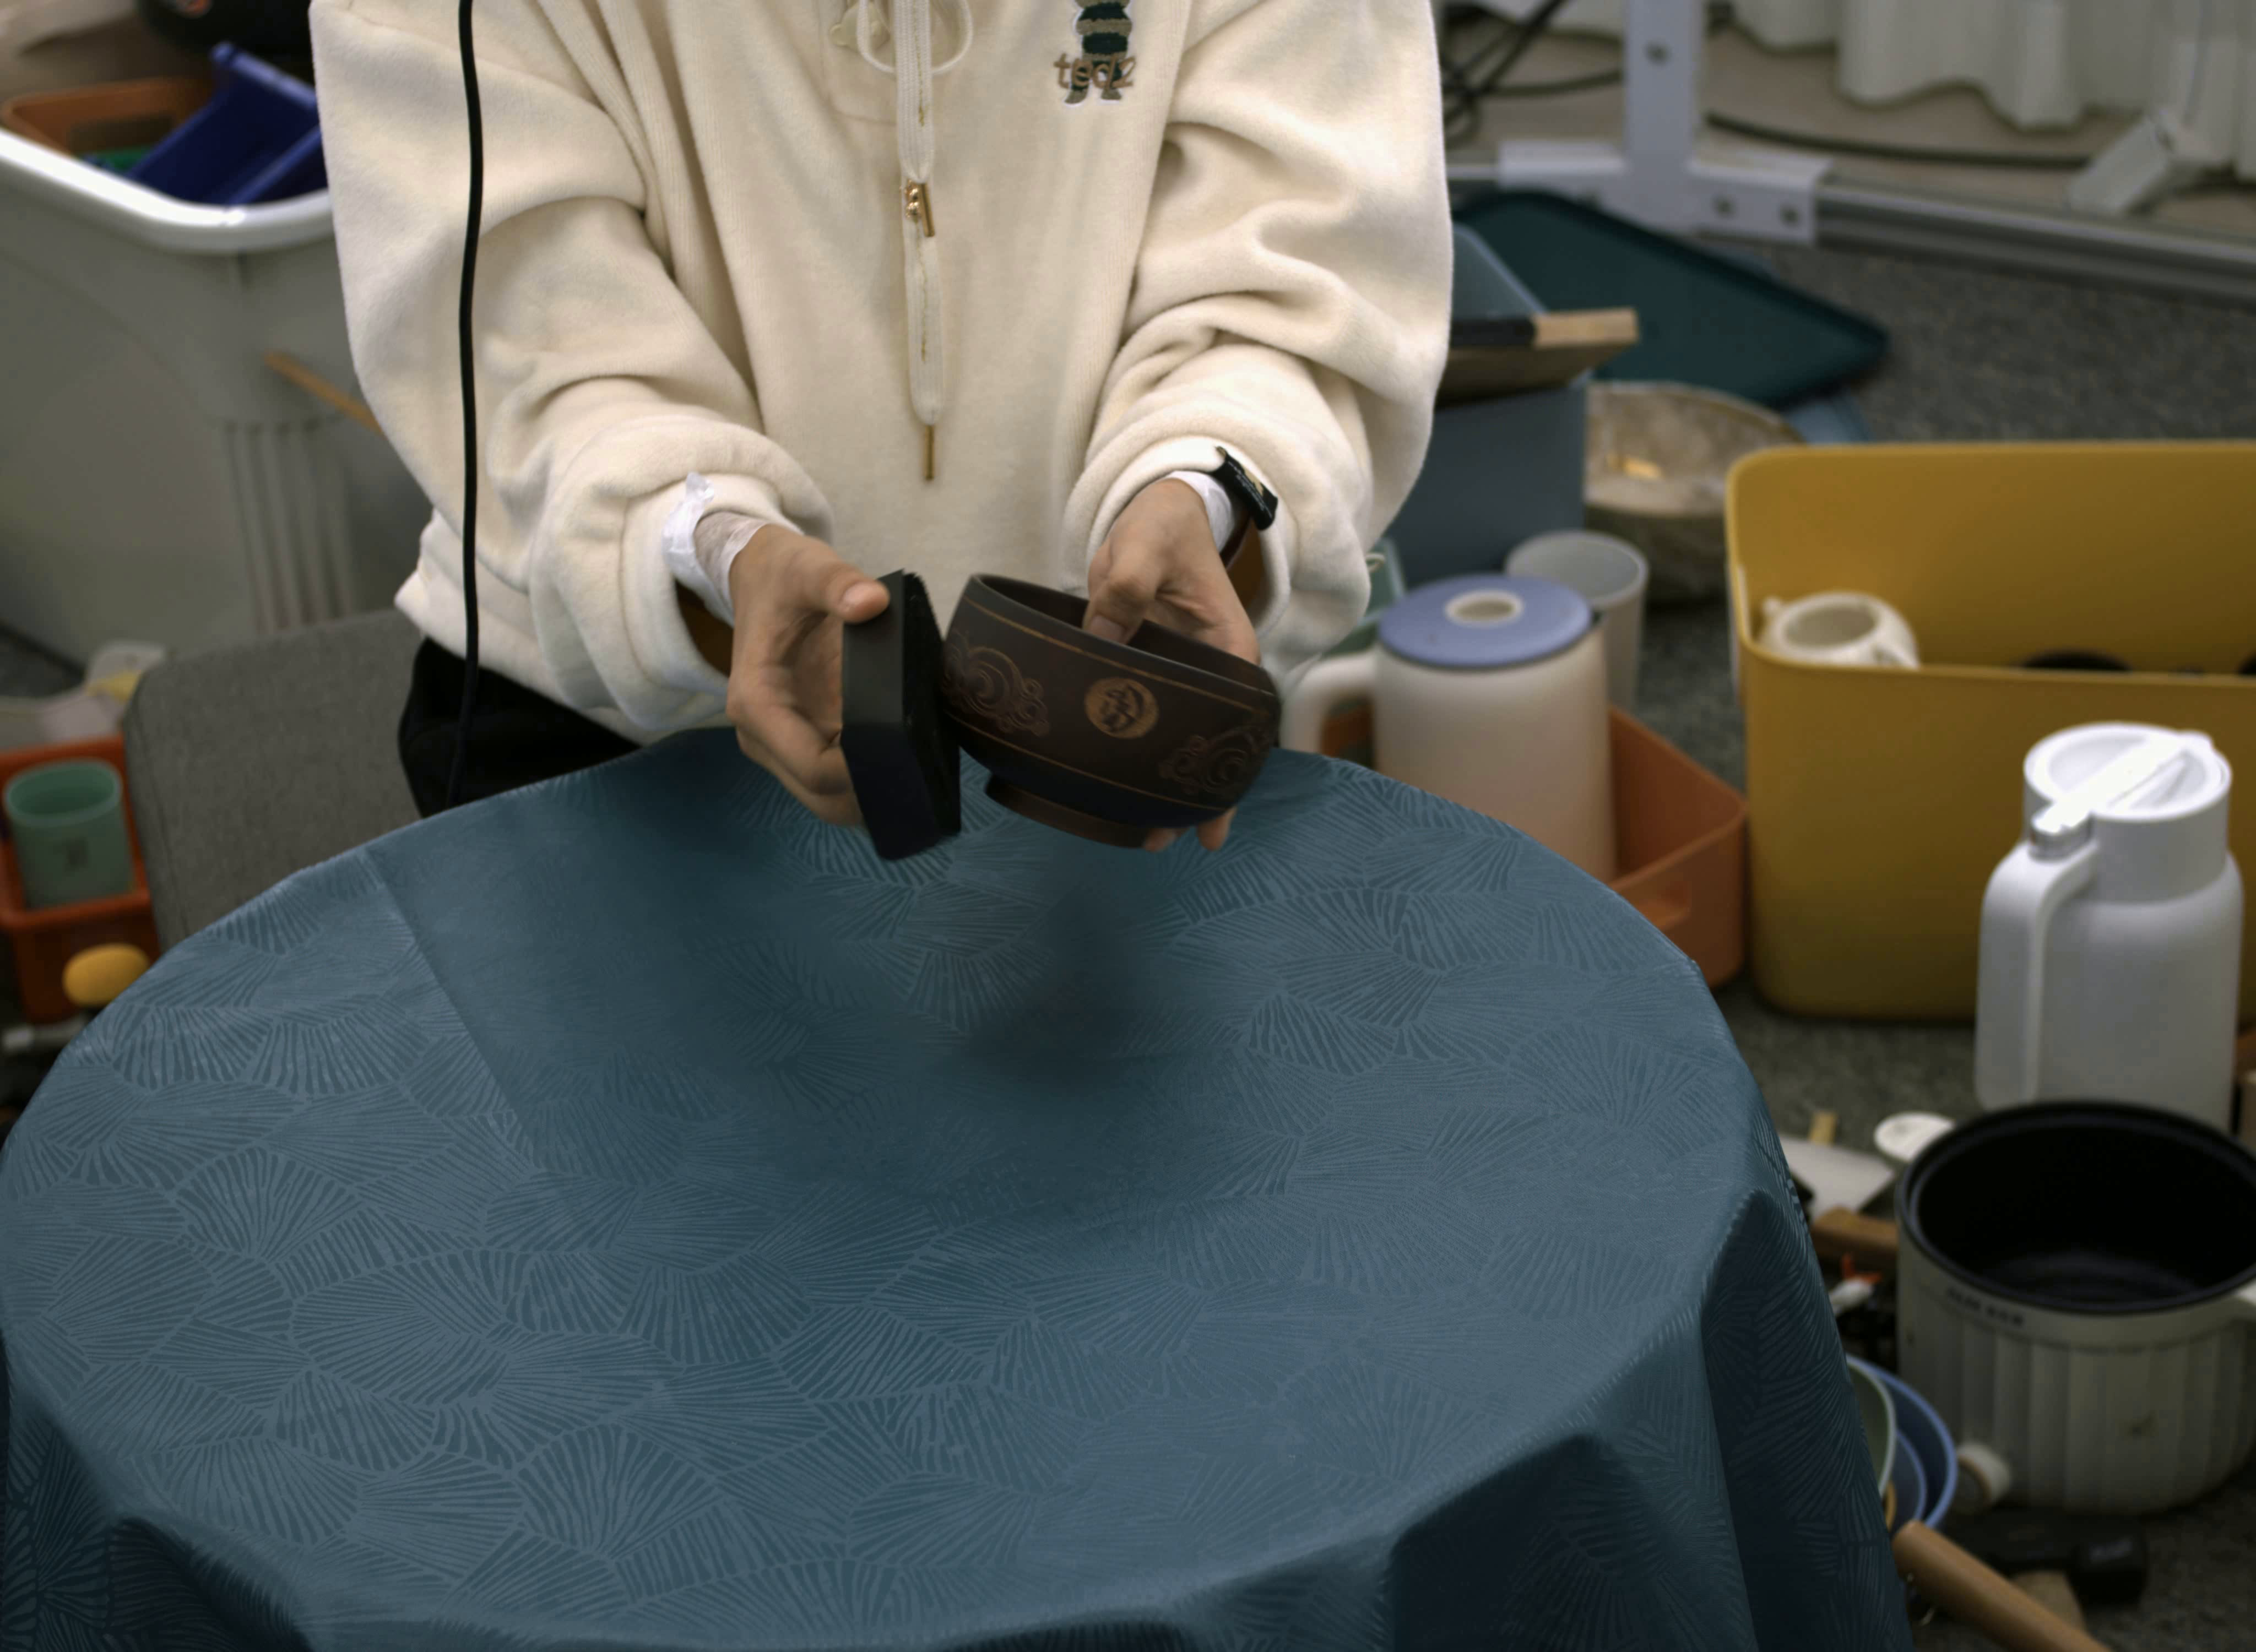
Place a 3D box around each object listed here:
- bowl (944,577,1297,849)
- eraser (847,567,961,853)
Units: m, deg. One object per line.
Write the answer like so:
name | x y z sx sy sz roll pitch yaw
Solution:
bowl | -0.008 -0.034 1.892 0.117 0.070 0.118 18 5 -1
eraser | -0.075 -0.041 1.901 0.030 0.053 0.127 -12 23 4
